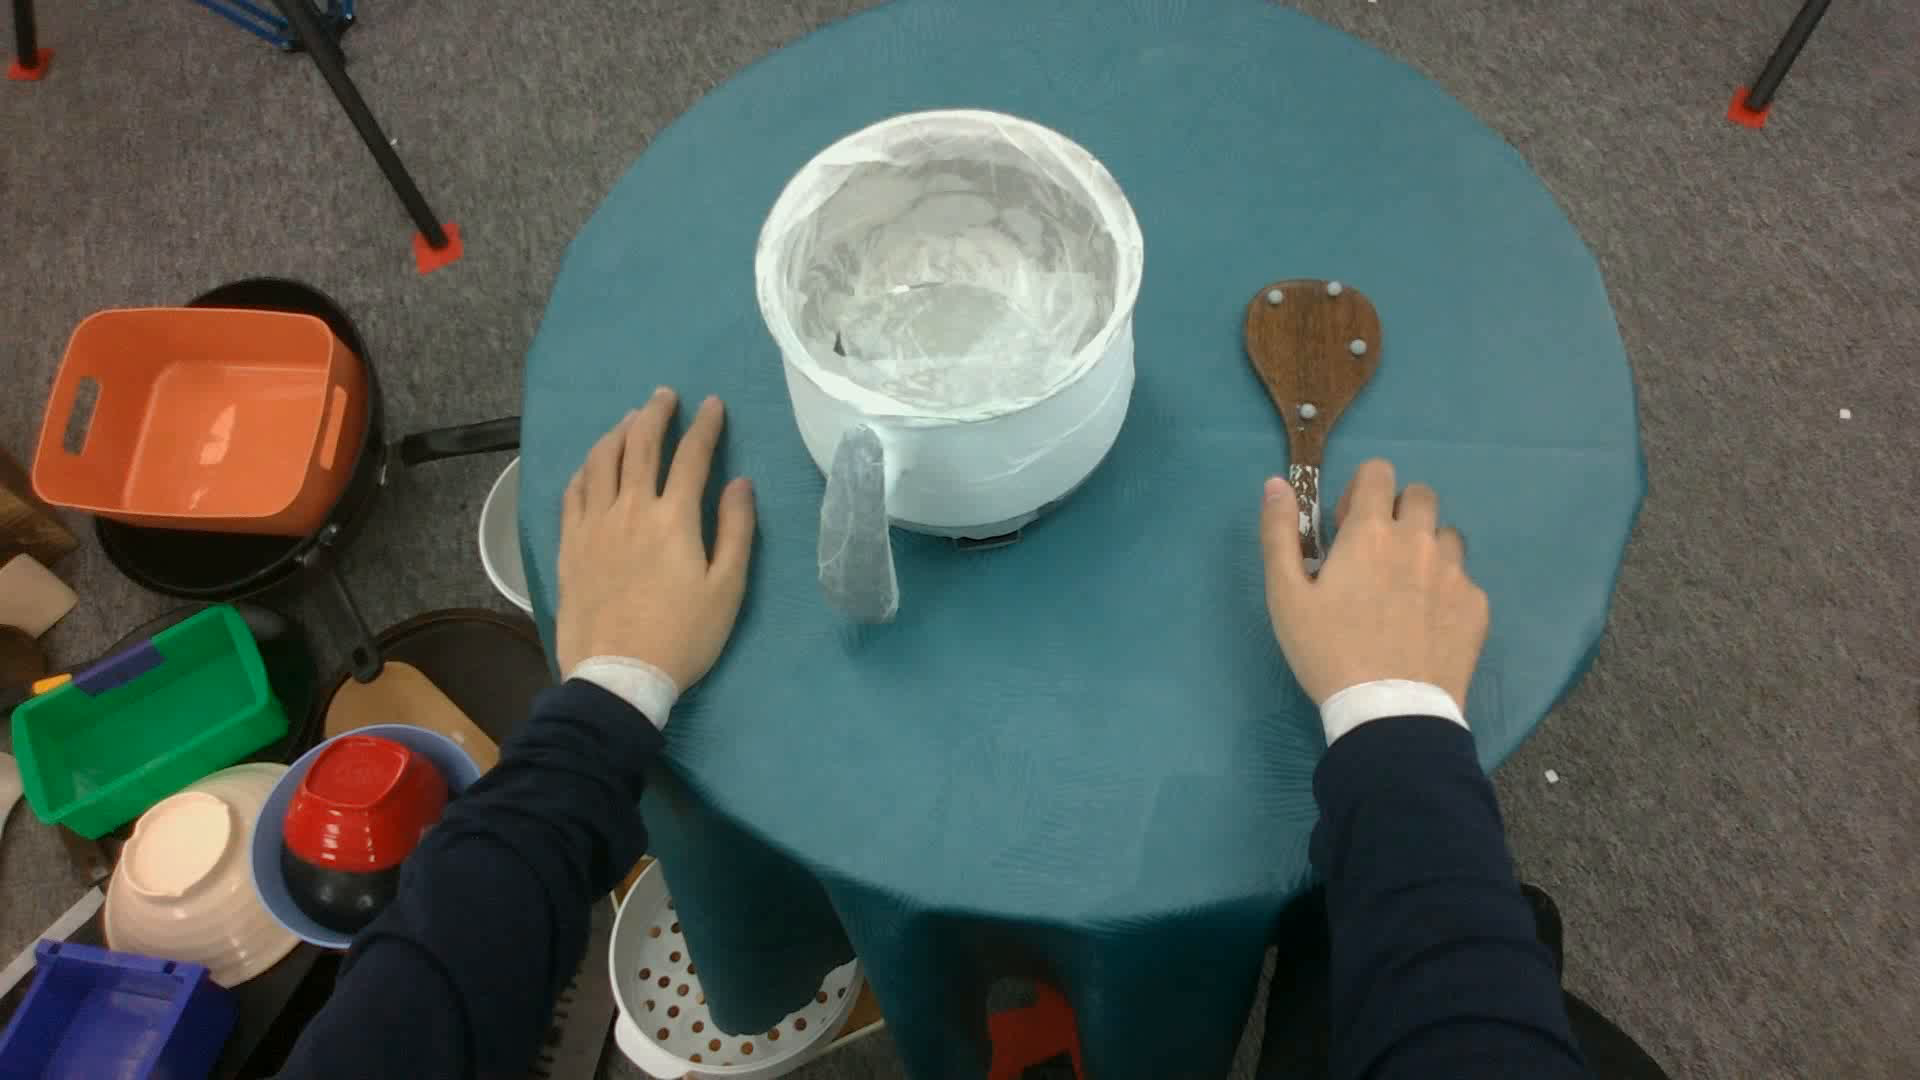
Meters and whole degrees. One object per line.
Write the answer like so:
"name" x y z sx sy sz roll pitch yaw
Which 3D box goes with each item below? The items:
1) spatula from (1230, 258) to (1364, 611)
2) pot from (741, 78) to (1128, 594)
"spatula" 0.172 -0.062 0.722 0.072 0.009 0.216 7 65 8
"pot" -0.018 -0.093 0.669 0.178 0.136 0.234 16 64 12
